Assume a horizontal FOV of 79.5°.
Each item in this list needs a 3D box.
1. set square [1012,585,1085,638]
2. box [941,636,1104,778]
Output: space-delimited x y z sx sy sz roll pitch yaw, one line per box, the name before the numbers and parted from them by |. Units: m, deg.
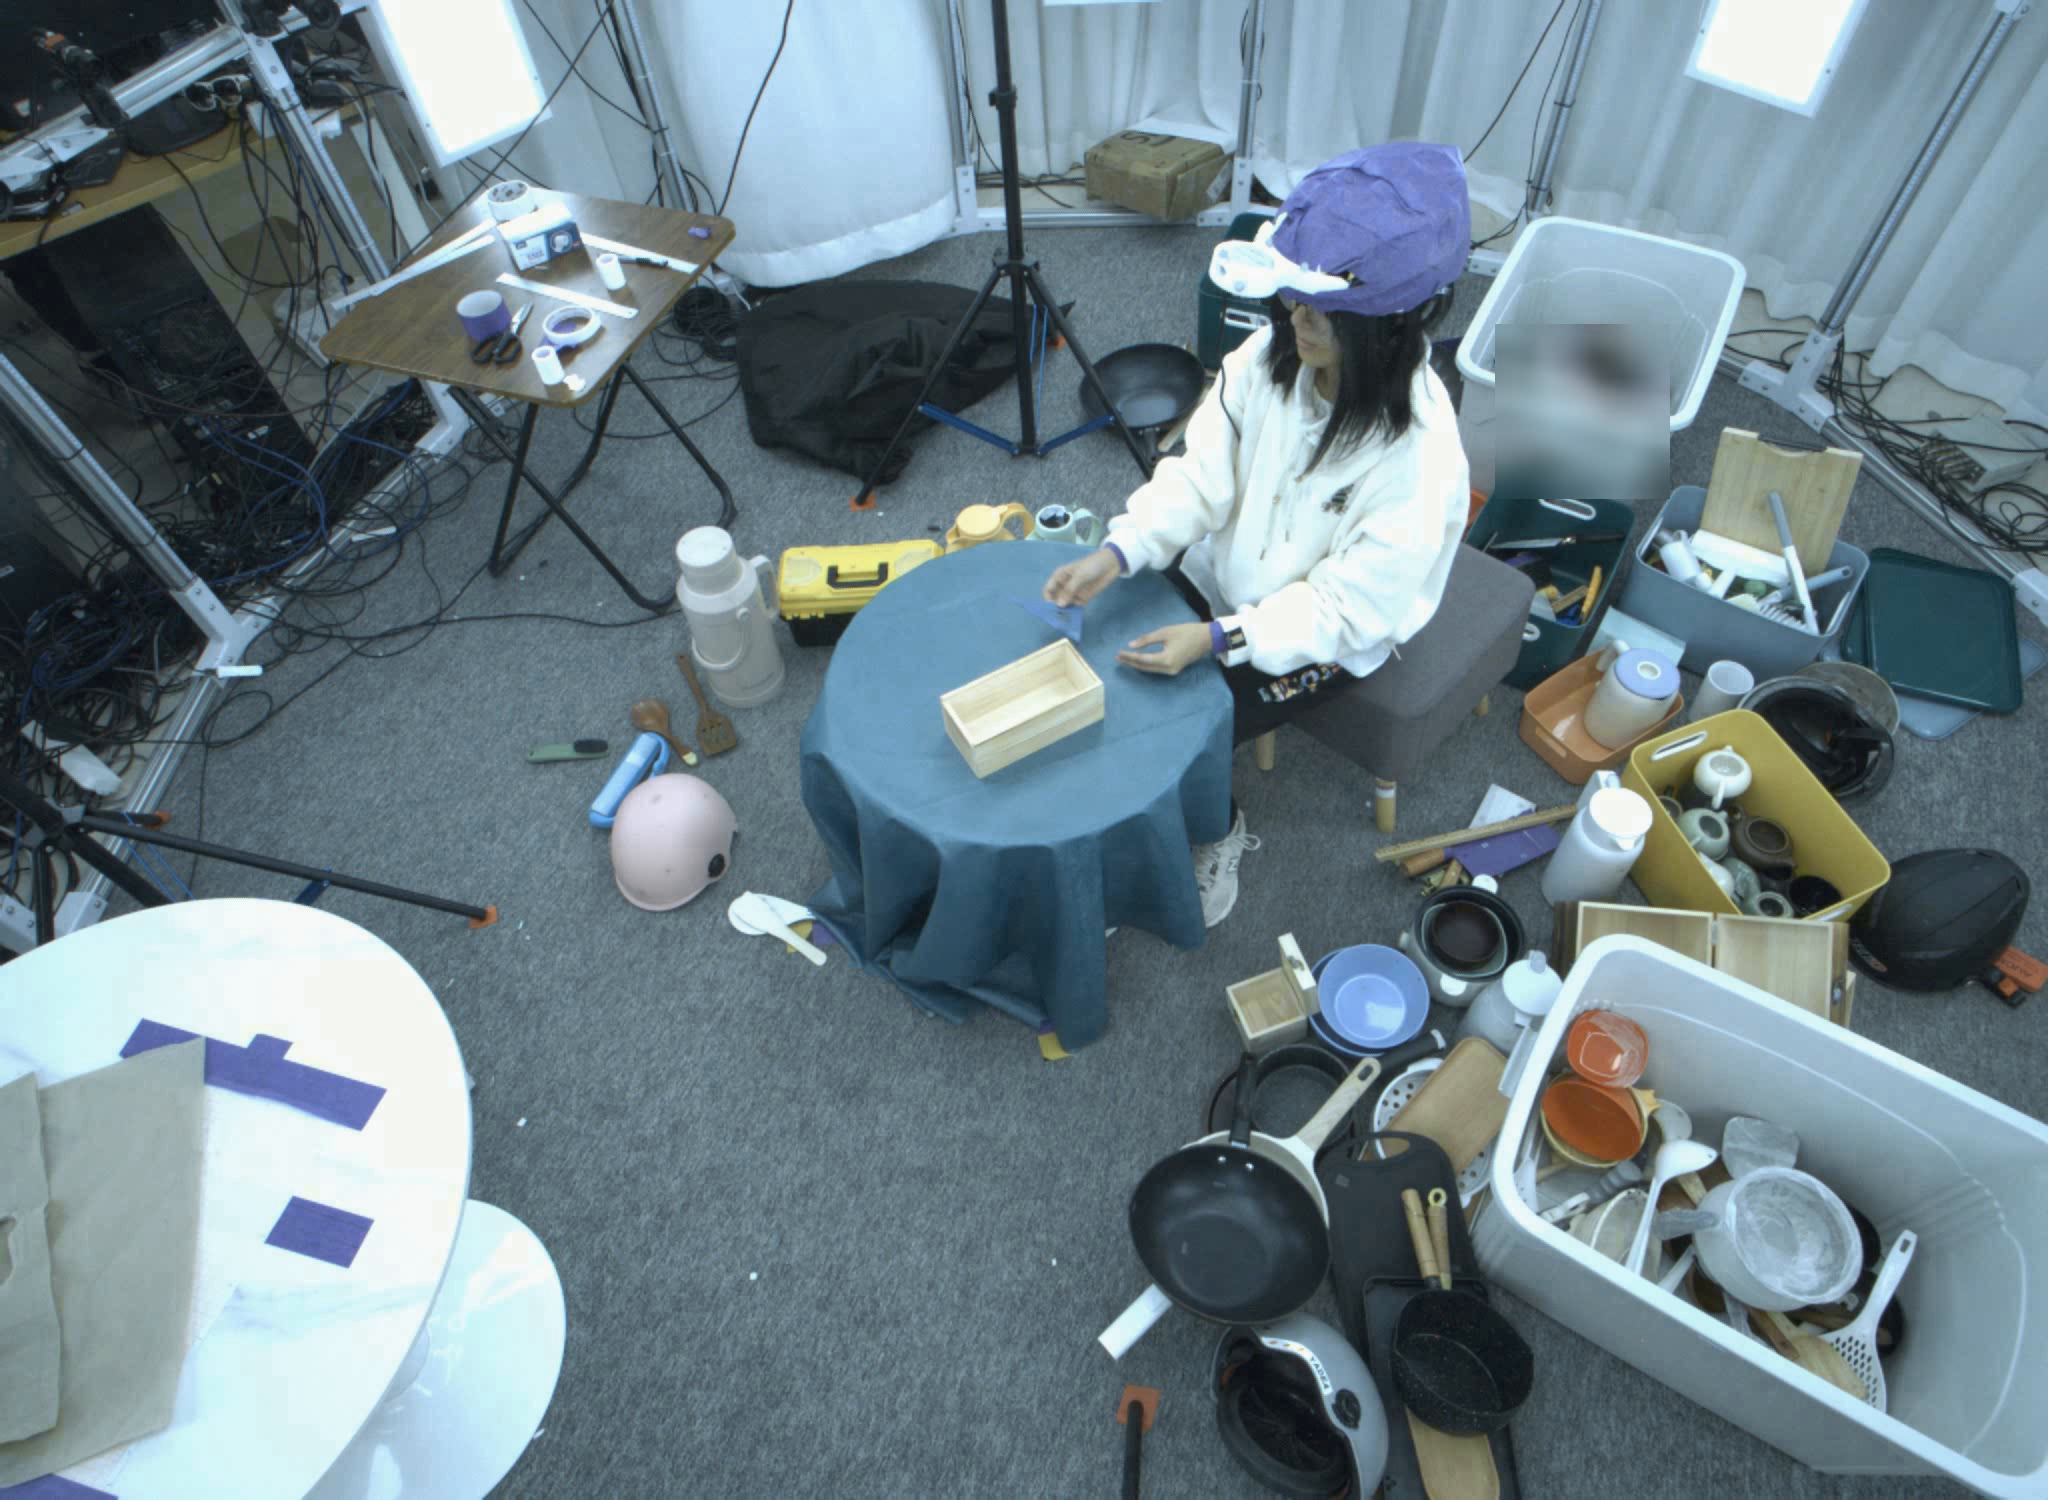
set square | 0.045 -0.222 1.853 0.130 0.006 0.061 39 62 17
box | 0.000 -0.063 1.783 0.213 0.081 0.105 -27 59 -16
